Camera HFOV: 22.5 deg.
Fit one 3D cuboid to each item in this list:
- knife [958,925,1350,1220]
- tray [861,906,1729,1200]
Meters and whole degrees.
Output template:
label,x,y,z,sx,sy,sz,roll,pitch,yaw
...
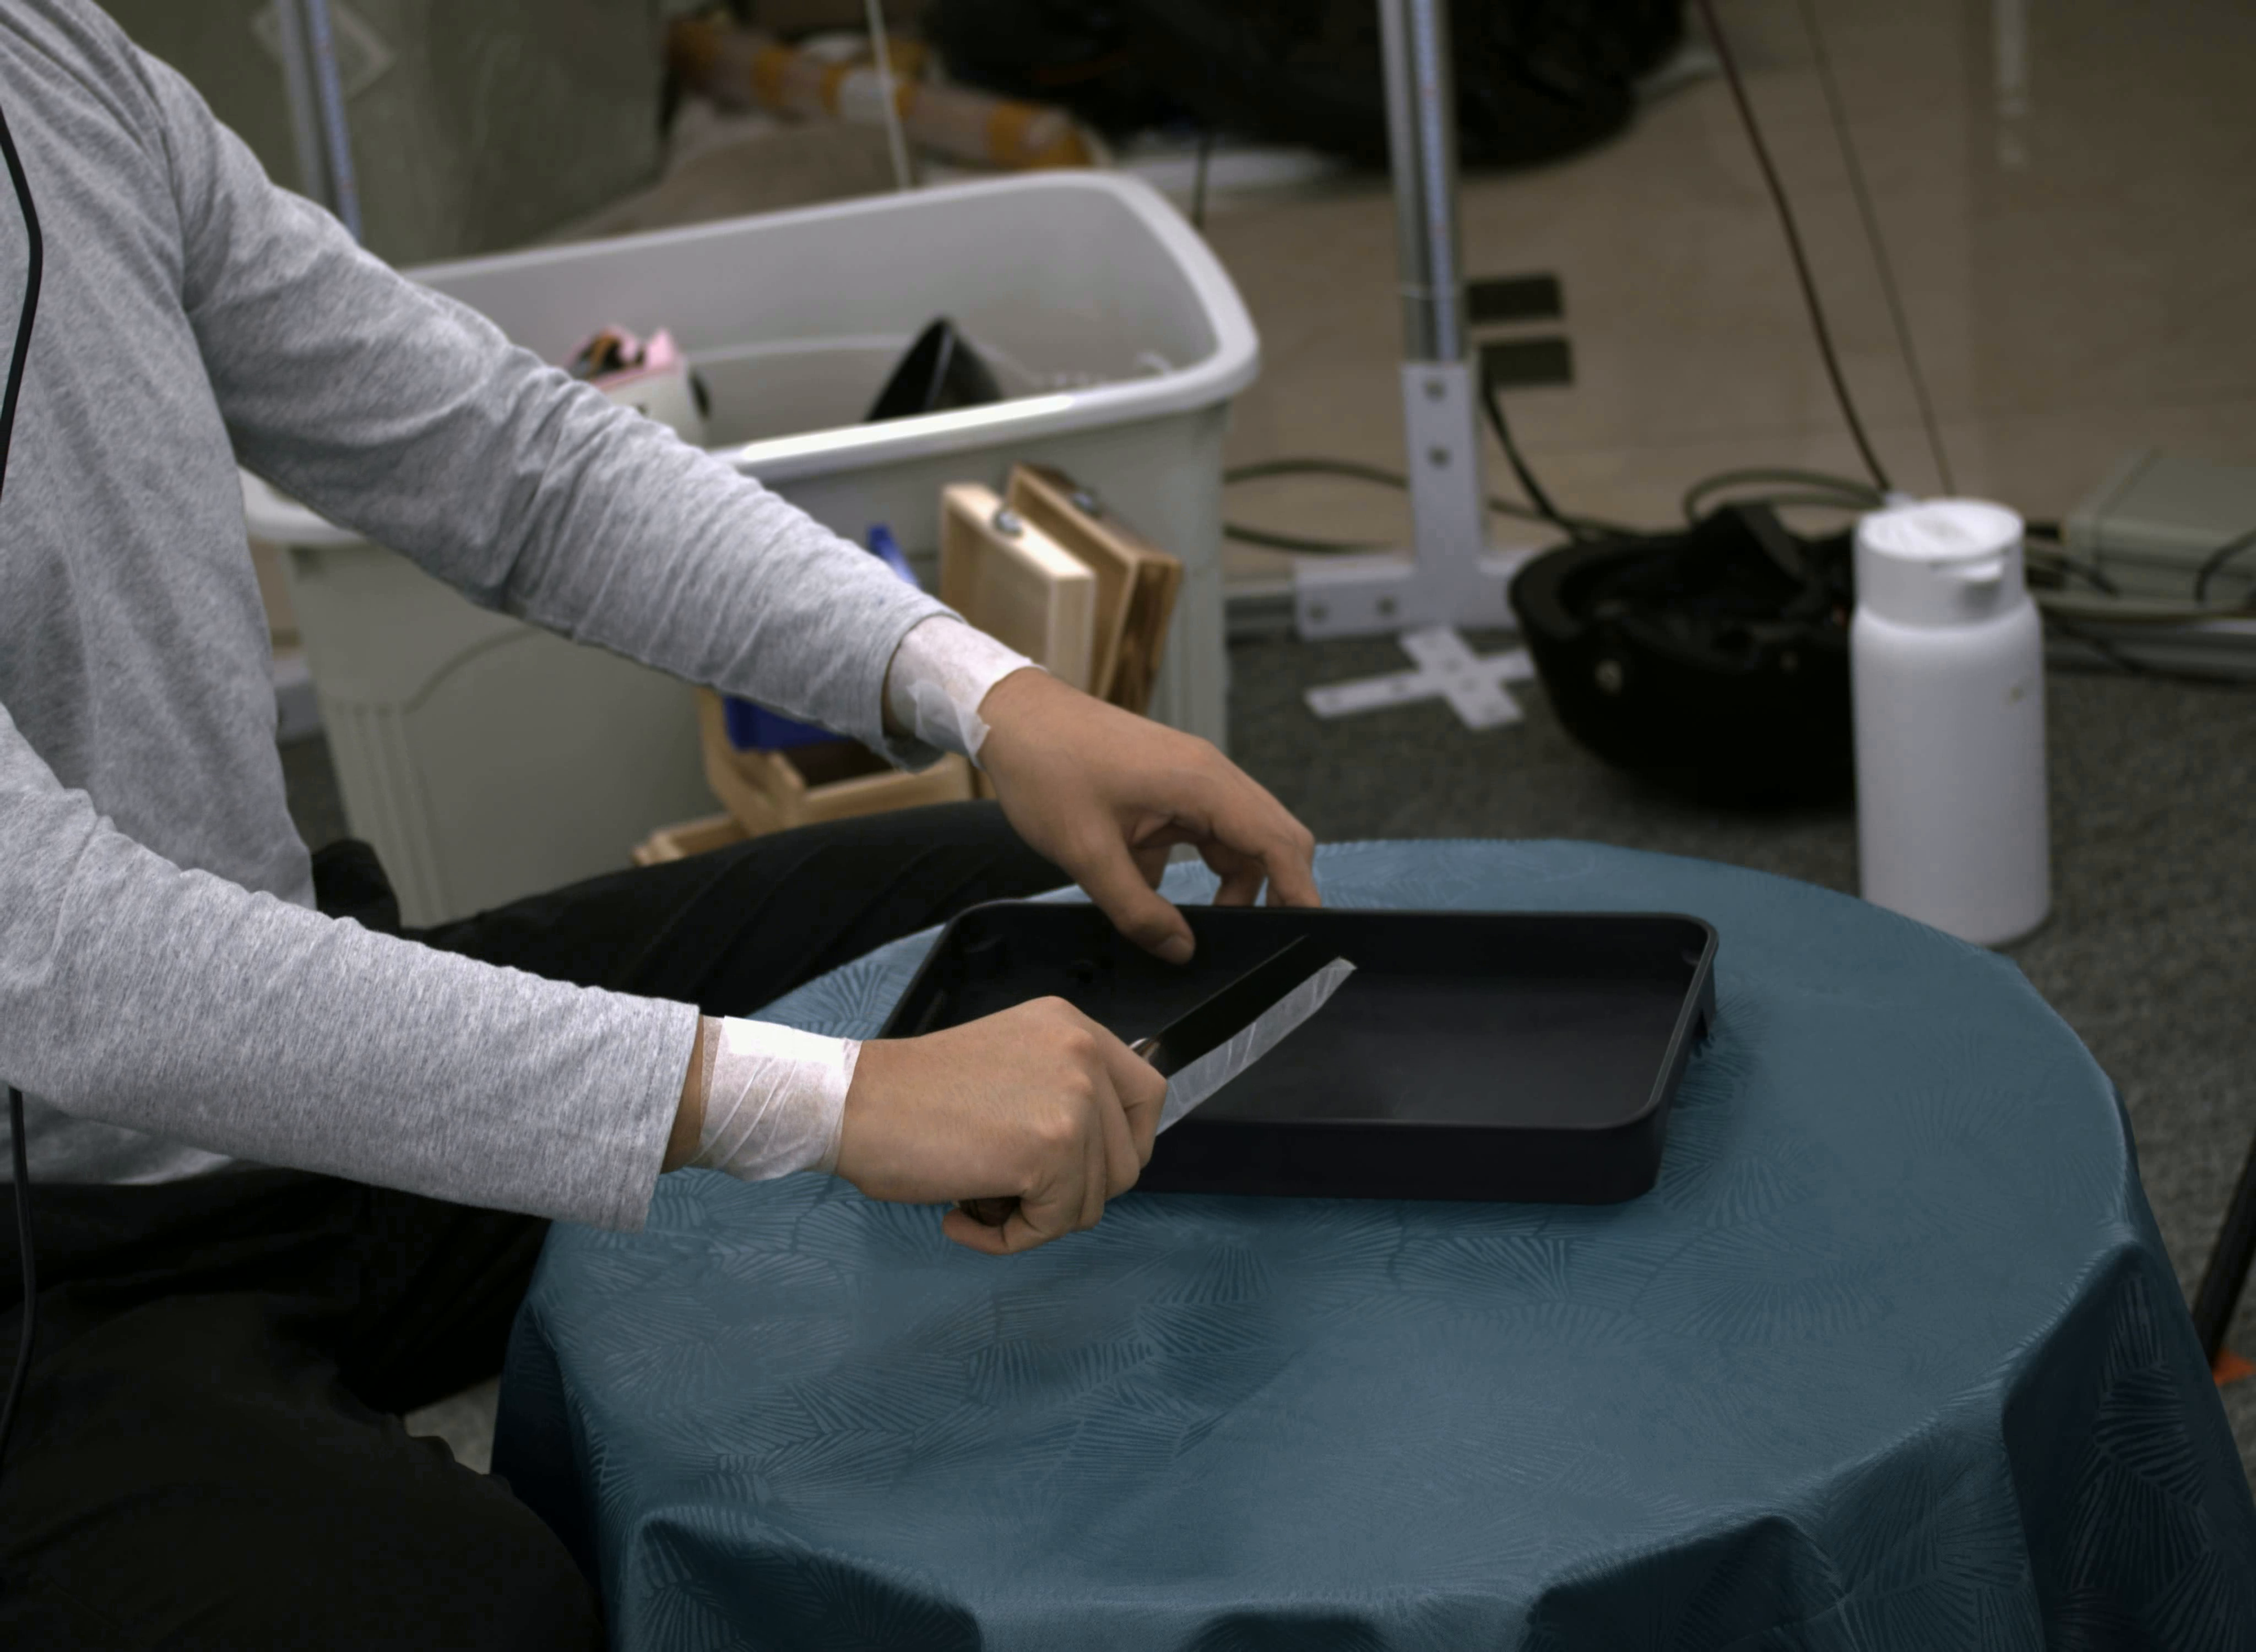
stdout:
label,x,y,z,sx,sy,sz,roll,pitch,yaw
knife,0.016,0.089,2.109,0.020,0.051,0.286,20,25,24
tray,0.068,0.086,2.206,0.317,0.037,0.181,-1,25,14
